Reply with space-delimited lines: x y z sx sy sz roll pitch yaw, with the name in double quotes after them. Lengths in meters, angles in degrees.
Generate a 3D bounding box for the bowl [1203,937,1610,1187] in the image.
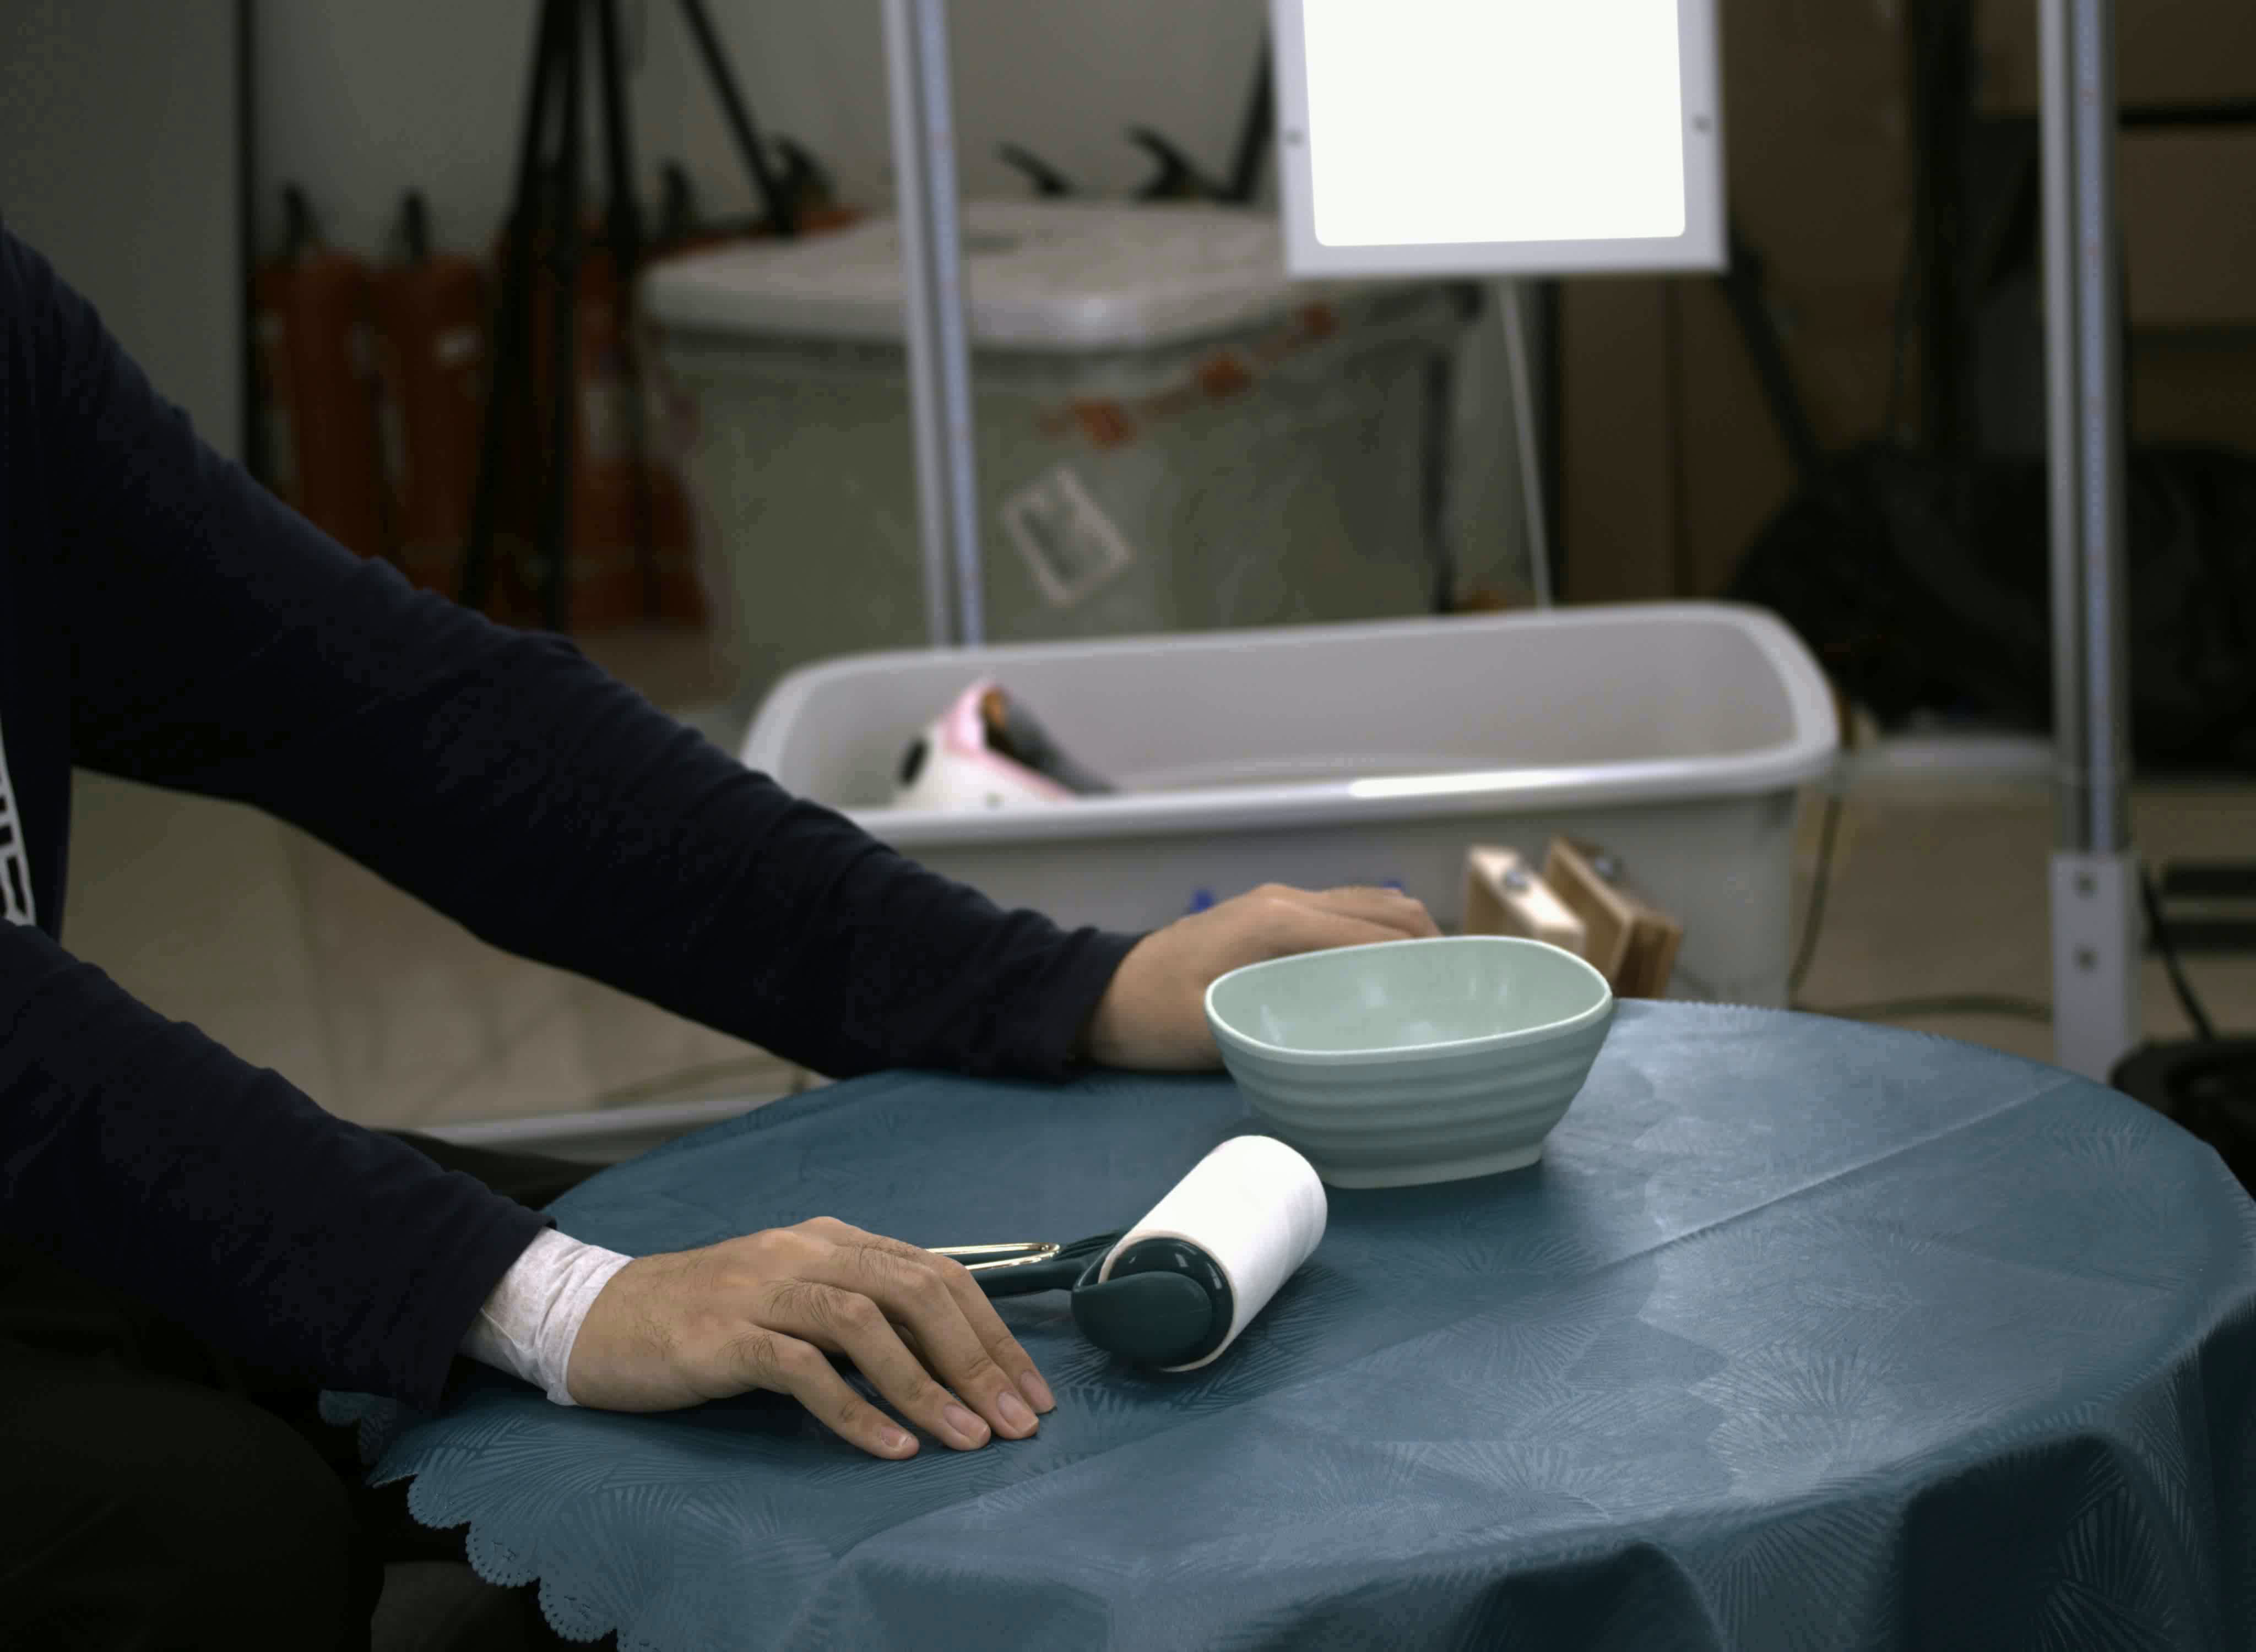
0.097 0.085 1.917 0.151 0.059 0.151 -3 14 -1 "bowl"

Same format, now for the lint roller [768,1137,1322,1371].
-0.035 0.139 1.781 0.182 0.048 0.132 -3 13 21 "lint roller"
